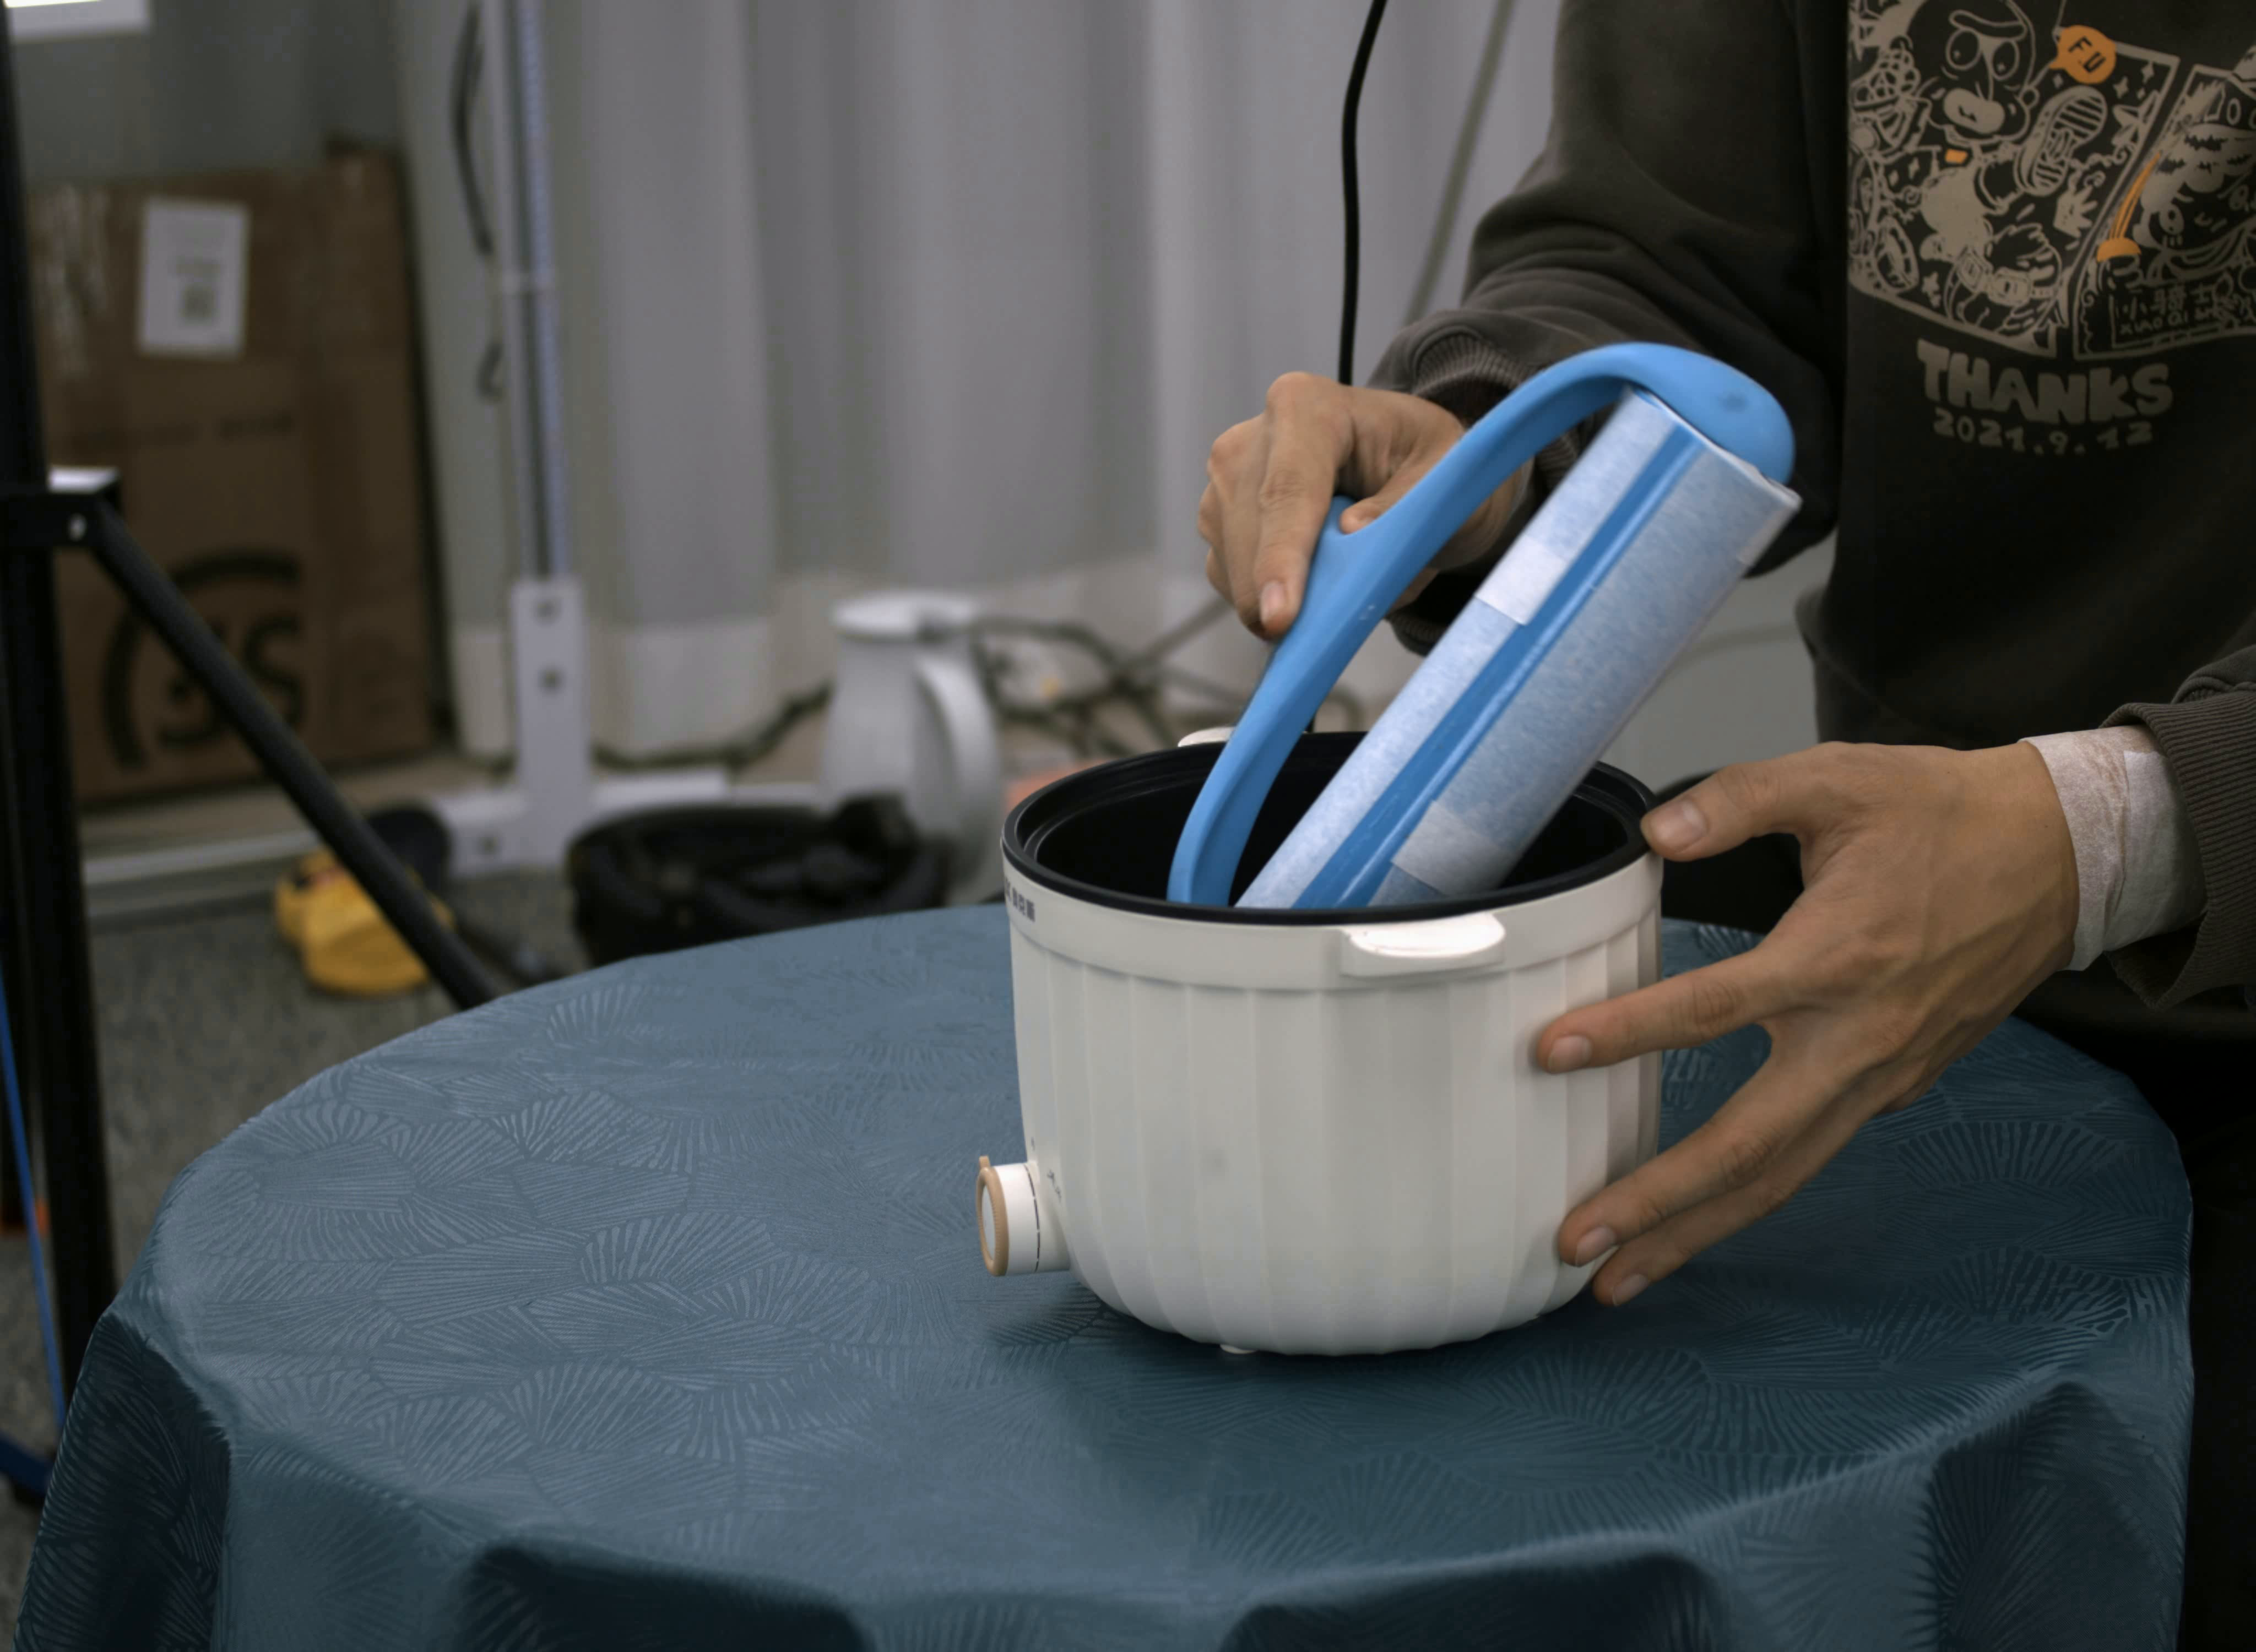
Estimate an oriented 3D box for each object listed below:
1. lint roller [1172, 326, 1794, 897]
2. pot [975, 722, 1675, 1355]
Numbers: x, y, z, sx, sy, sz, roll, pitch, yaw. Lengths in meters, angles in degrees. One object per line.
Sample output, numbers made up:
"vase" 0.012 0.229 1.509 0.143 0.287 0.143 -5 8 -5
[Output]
"lint roller" 0.076 -0.054 1.475 0.066 0.230 0.184 29 10 -32
"pot" 0.054 0.062 1.462 0.188 0.143 0.243 -3 14 -12
